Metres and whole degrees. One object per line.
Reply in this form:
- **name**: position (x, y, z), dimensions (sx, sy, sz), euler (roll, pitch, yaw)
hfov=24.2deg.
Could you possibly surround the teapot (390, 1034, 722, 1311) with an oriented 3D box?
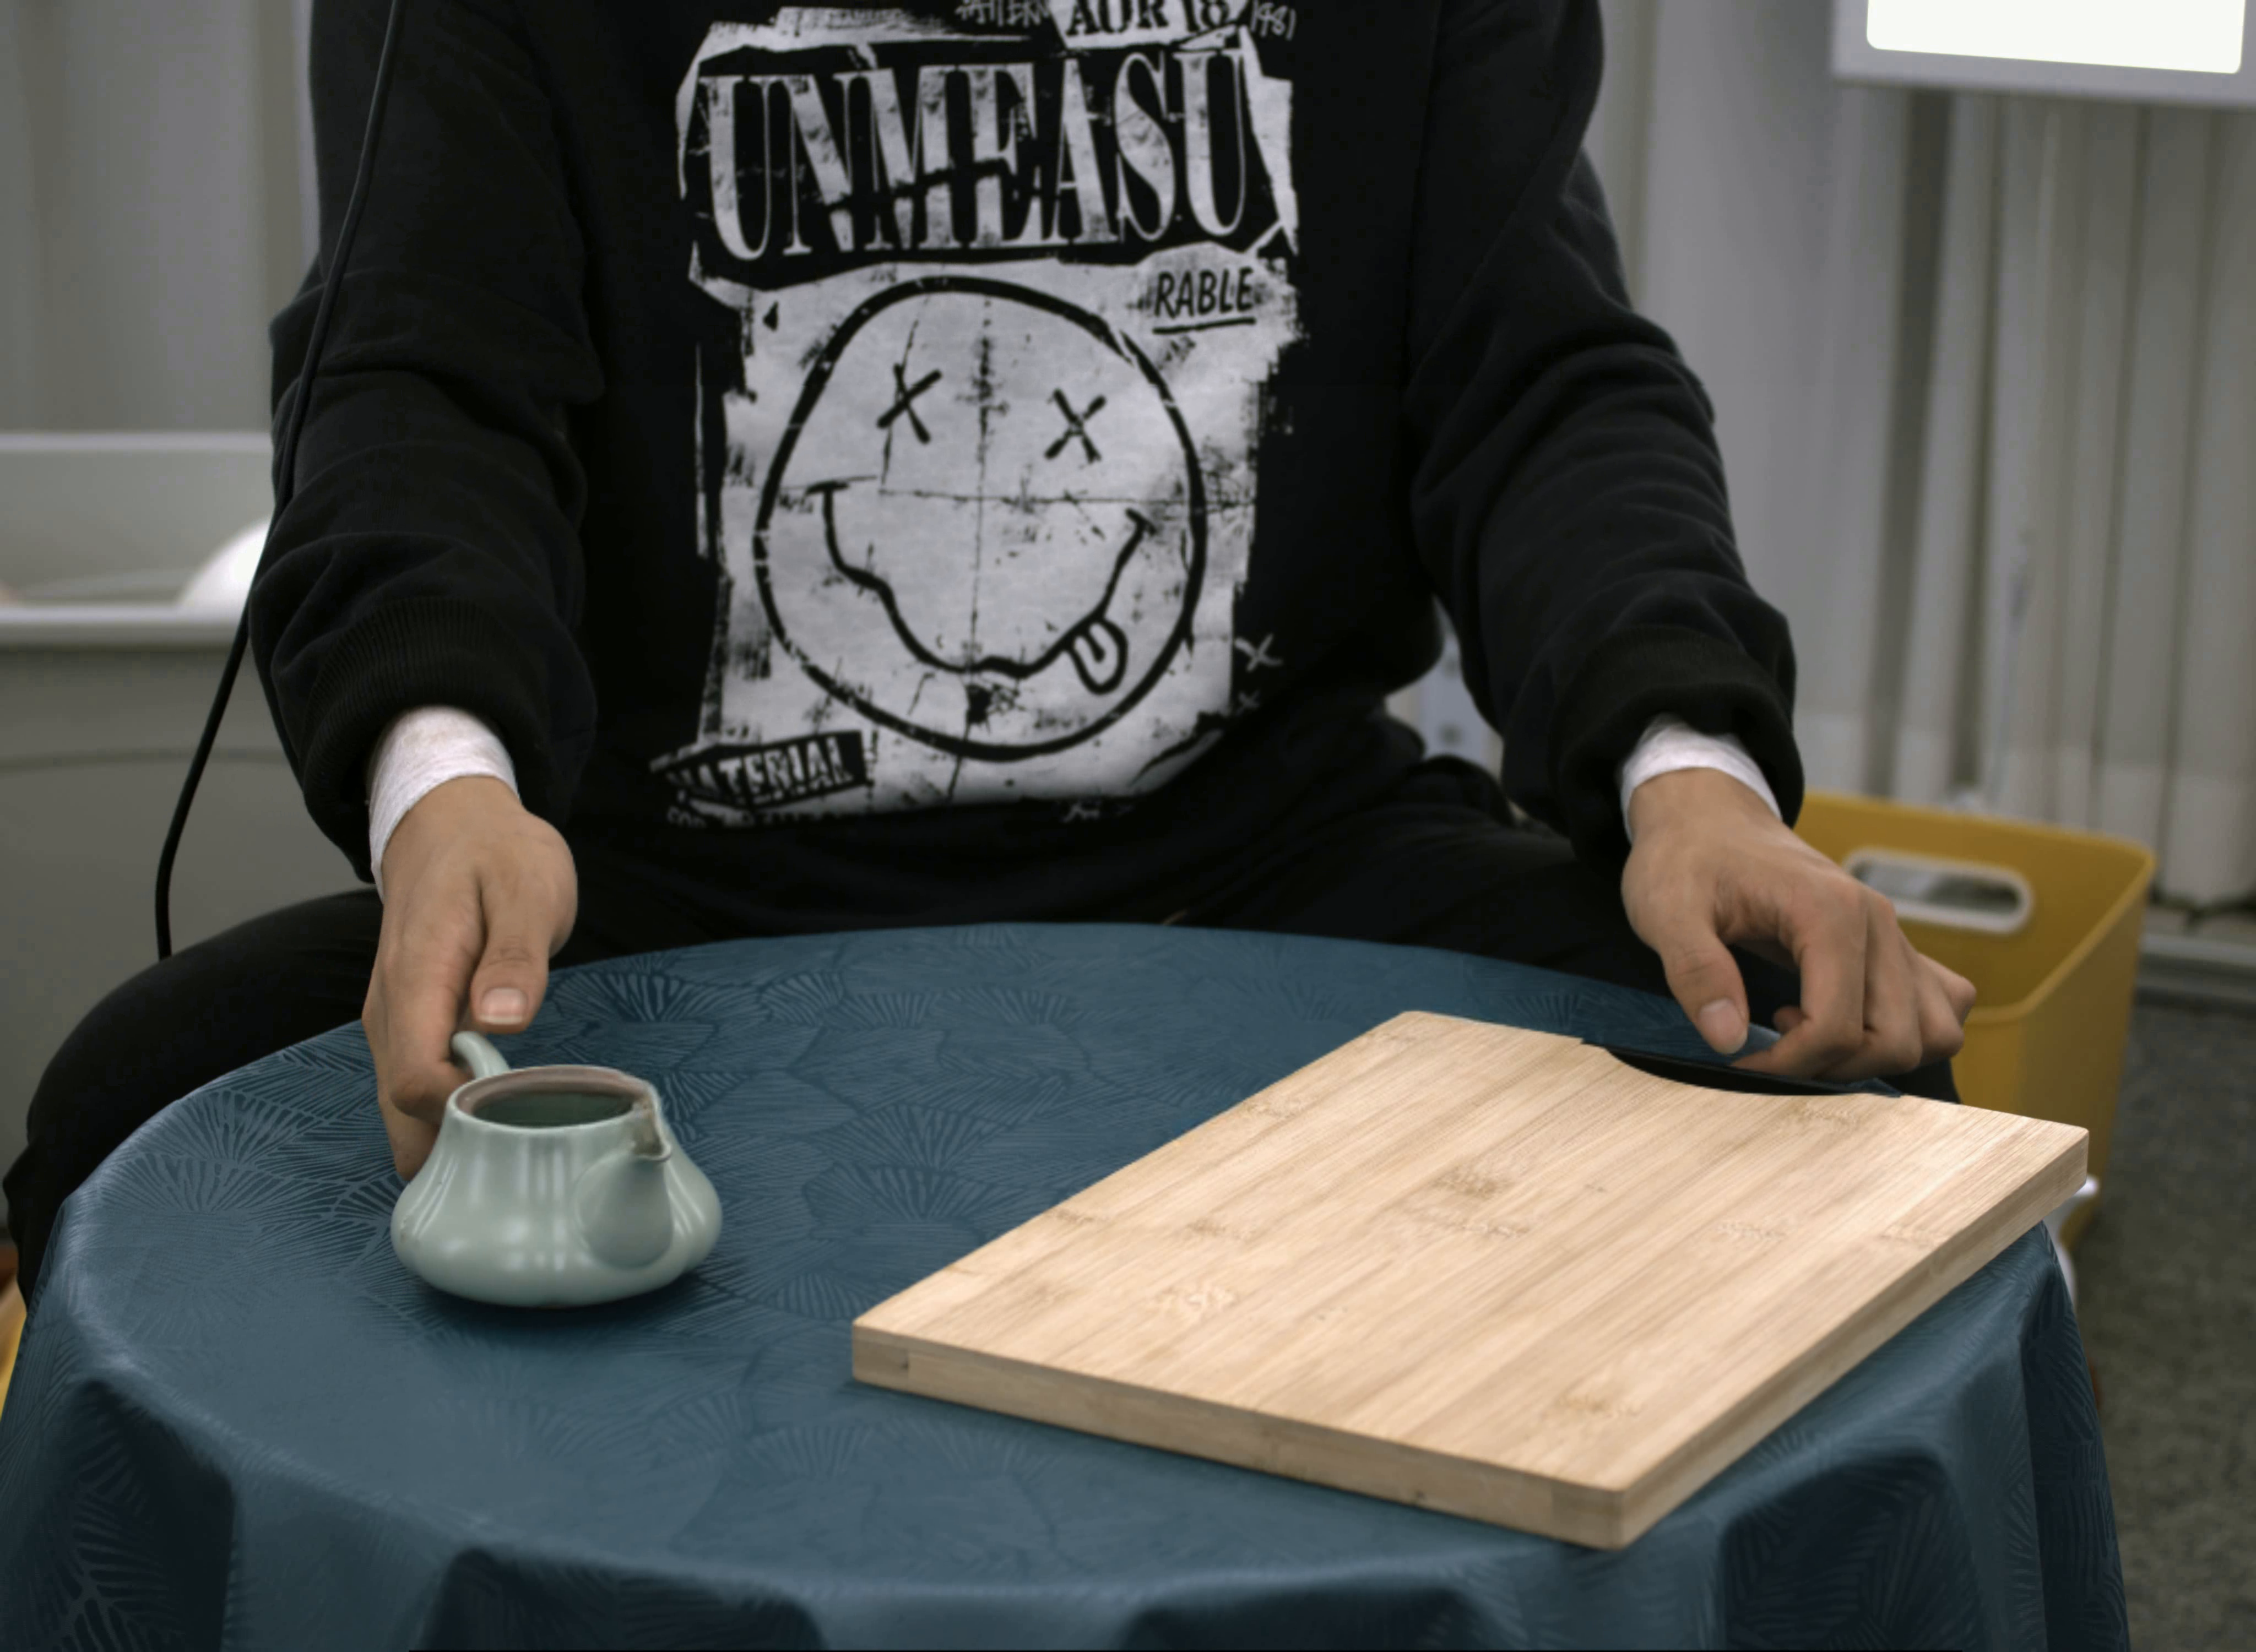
- **teapot**: position (-0.170, 0.103, 1.538), dimensions (0.096, 0.062, 0.135), euler (-12, 21, -34)

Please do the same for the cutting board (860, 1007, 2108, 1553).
- **cutting board**: position (0.113, 0.124, 1.555), dimensions (0.248, 0.024, 0.349), euler (9, 18, 28)
